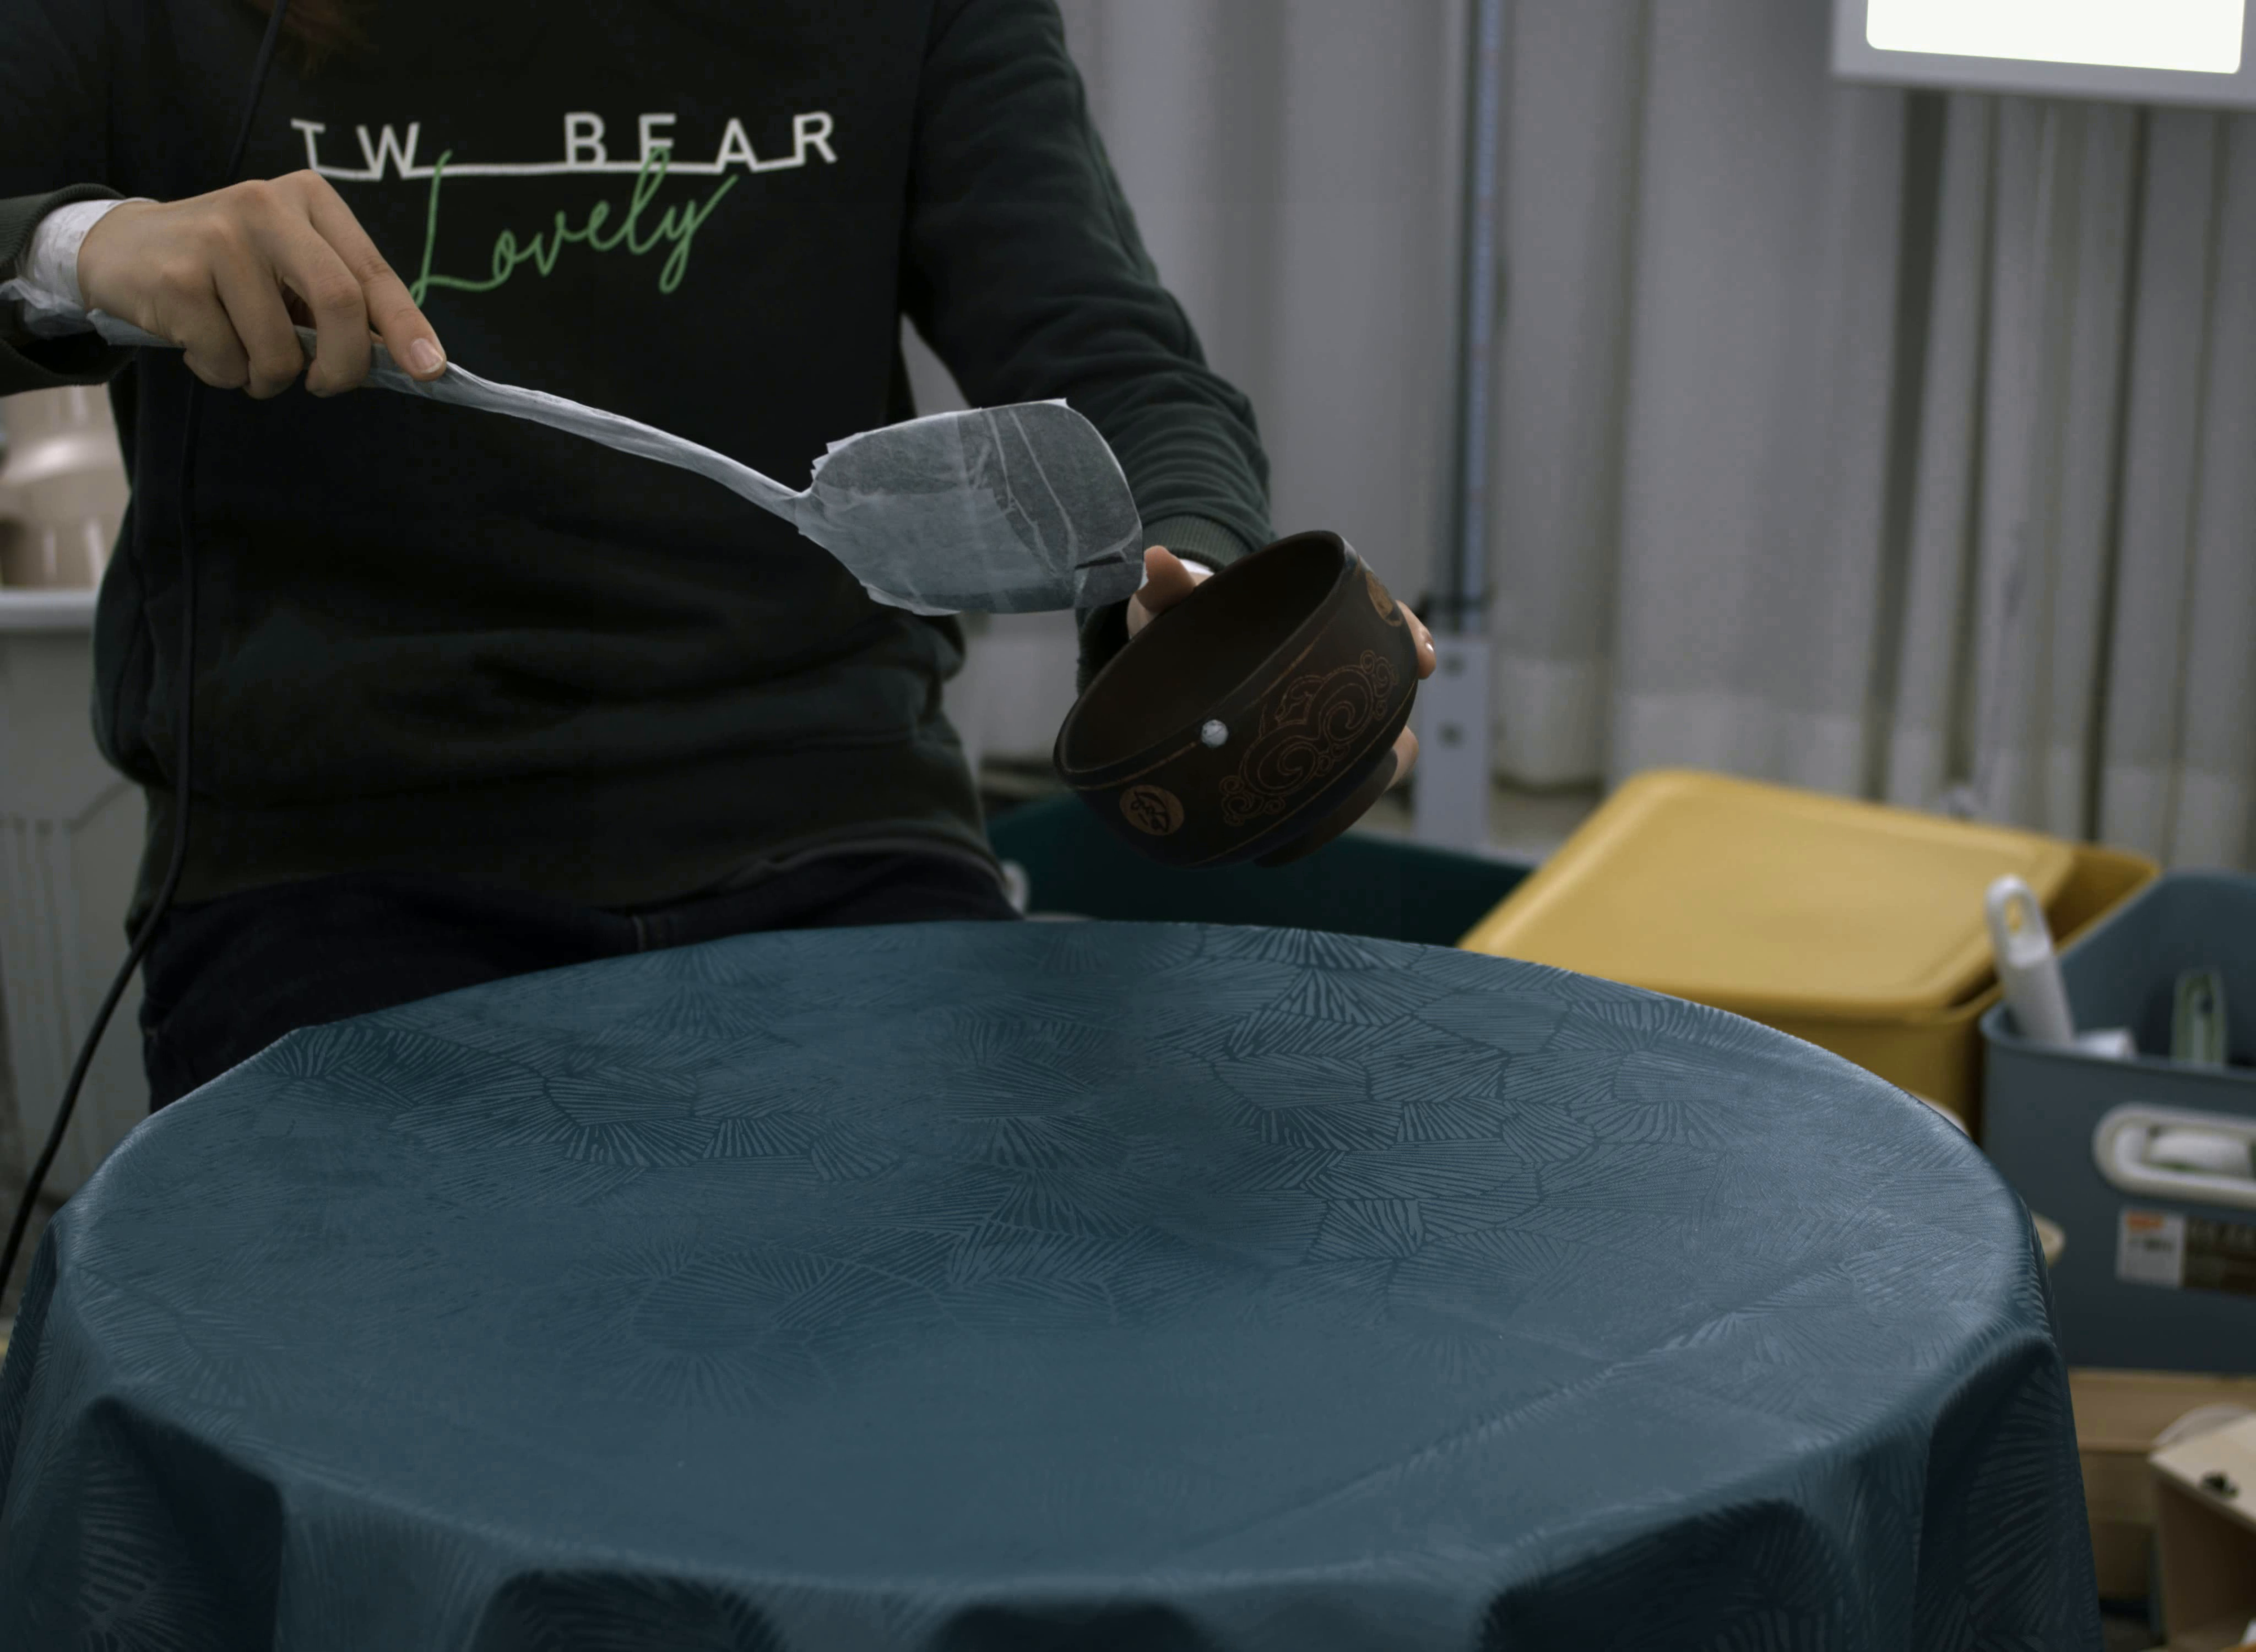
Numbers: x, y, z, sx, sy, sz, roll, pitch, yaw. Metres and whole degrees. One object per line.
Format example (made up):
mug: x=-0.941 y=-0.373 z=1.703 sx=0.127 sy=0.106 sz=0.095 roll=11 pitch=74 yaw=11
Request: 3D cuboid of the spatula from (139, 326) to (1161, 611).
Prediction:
spatula: x=-0.161 y=-0.127 z=1.661 sx=0.361 sy=0.100 sz=0.044 roll=16 pitch=61 yaw=24

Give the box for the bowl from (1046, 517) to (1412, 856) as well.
bowl: x=0.040 y=-0.035 z=1.662 sx=0.118 sy=0.070 sz=0.117 roll=-33 pitch=17 yaw=13
